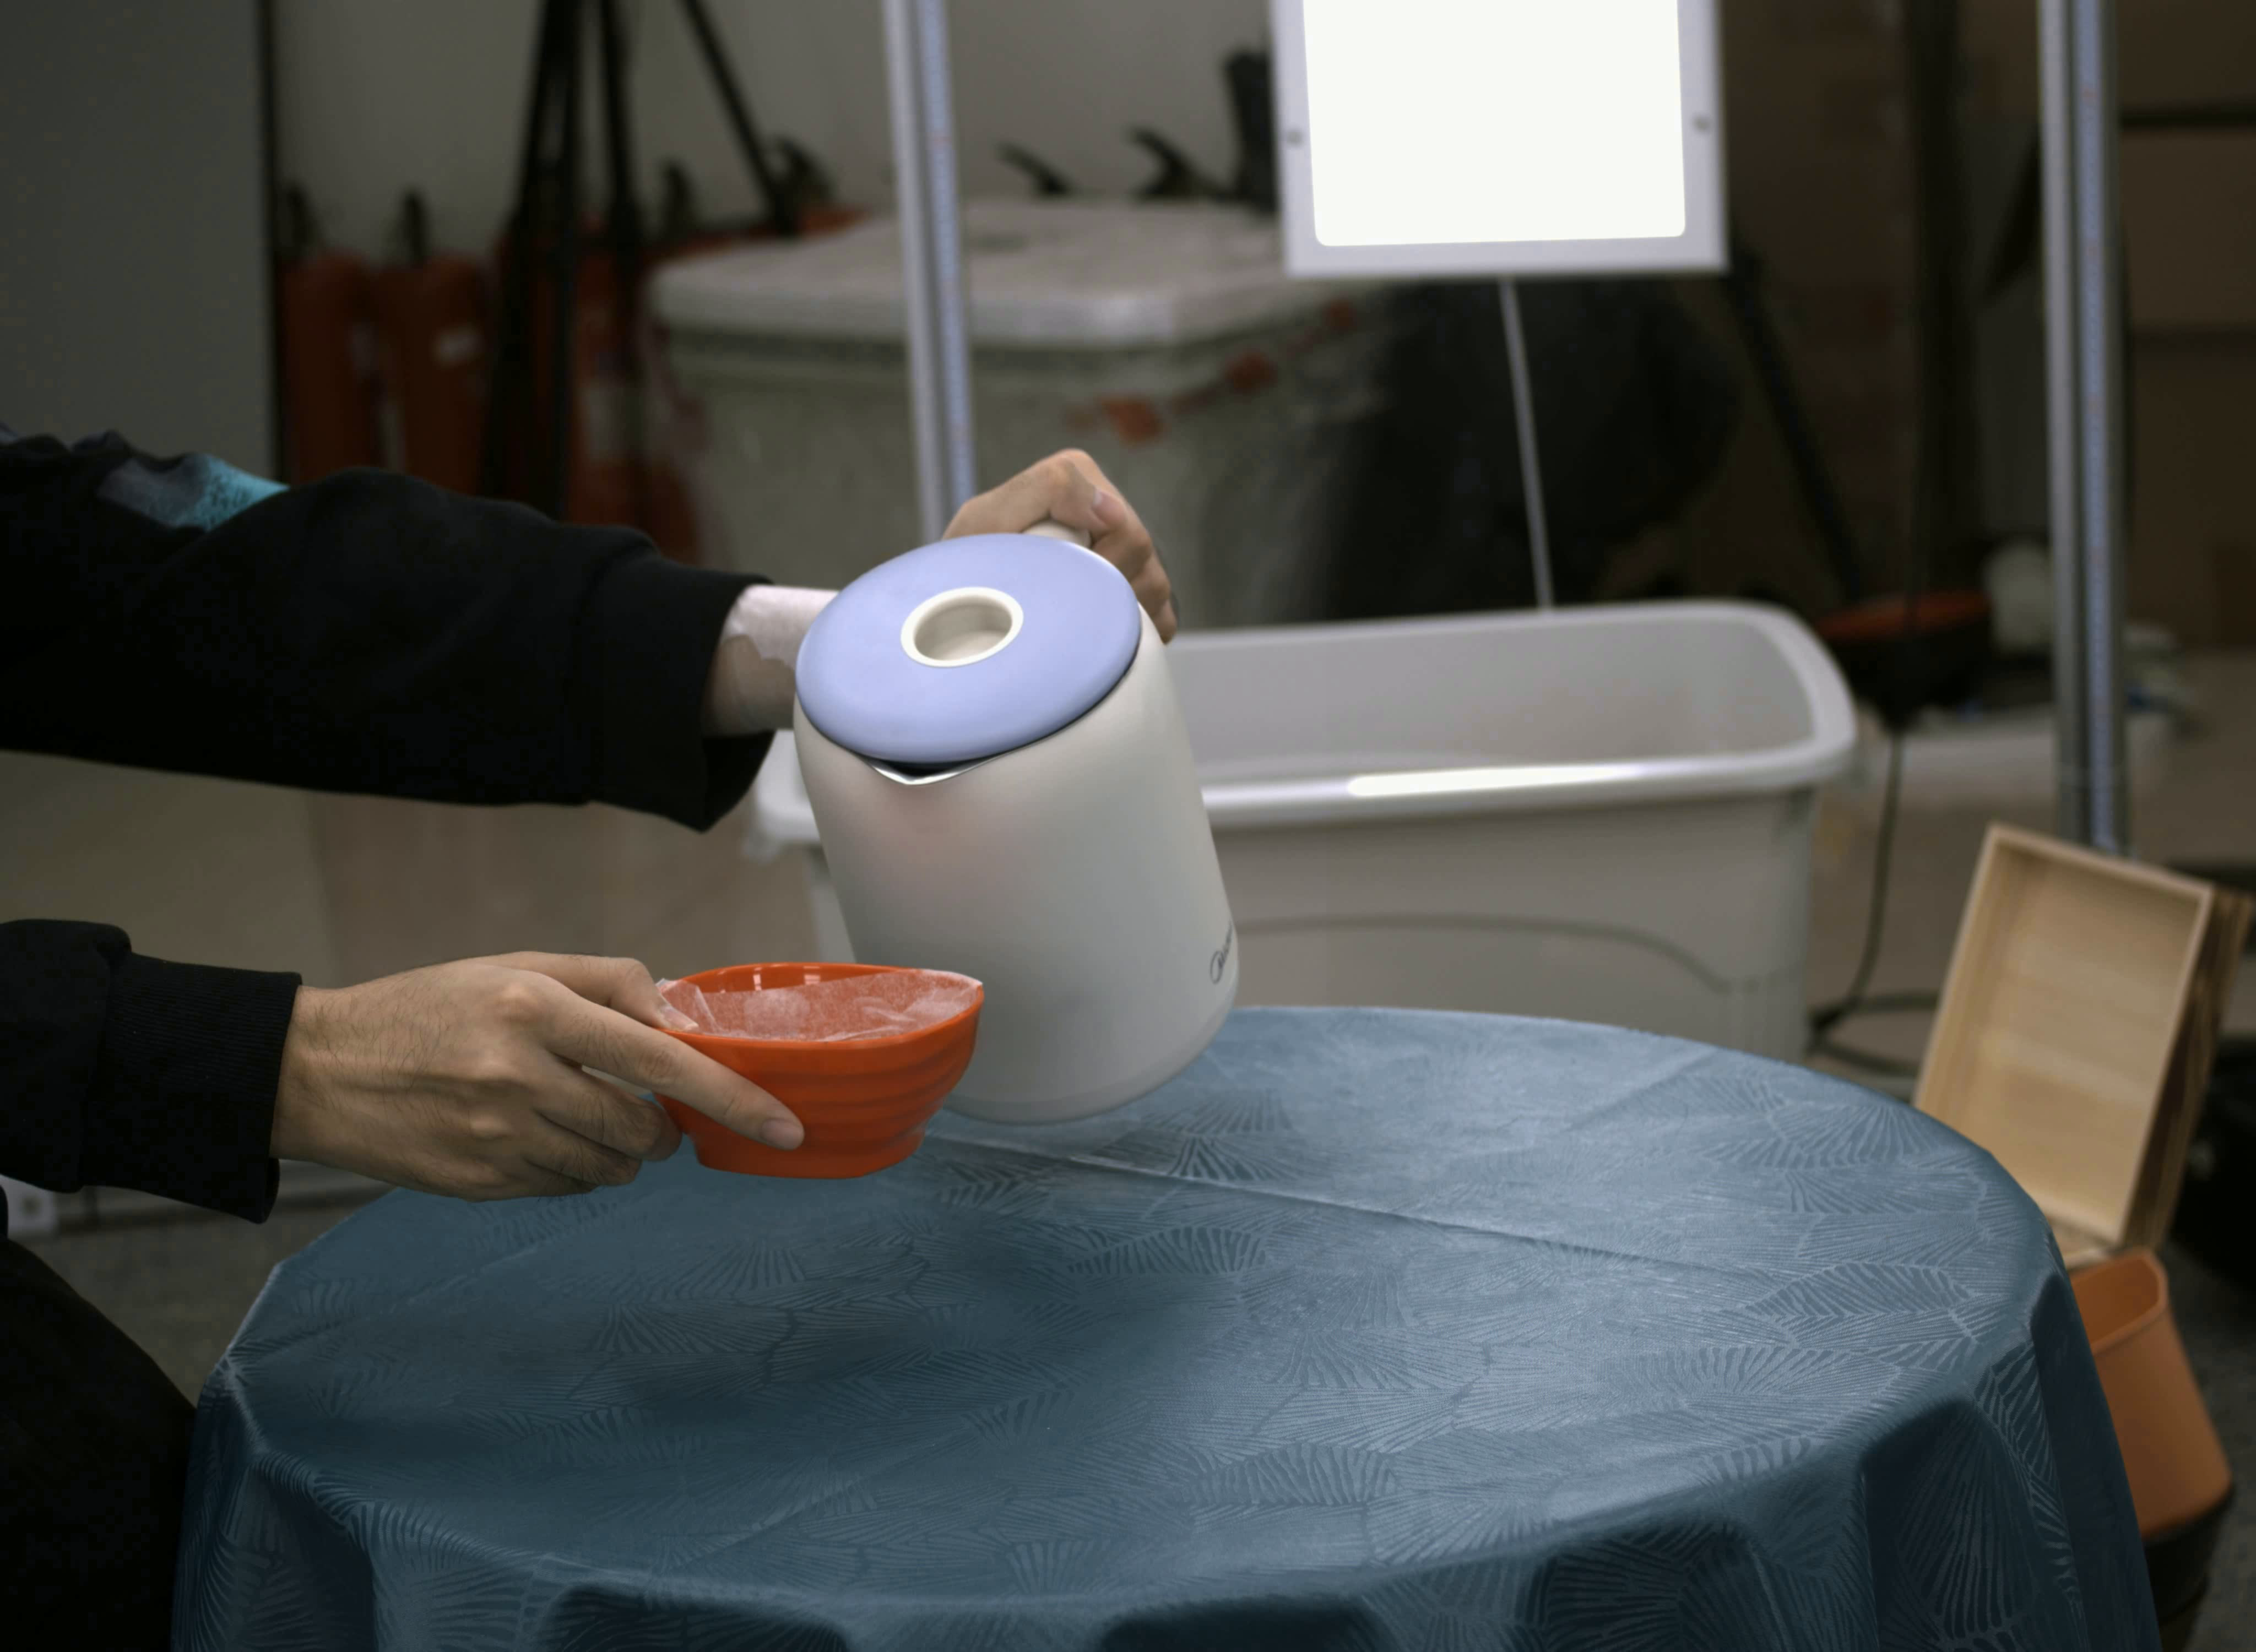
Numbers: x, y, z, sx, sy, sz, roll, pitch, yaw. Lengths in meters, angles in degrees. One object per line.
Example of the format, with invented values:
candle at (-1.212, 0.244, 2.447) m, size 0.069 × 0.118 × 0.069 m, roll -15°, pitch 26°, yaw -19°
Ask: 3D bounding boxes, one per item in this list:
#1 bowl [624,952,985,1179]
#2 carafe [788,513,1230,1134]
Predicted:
bowl at (-0.102, 0.078, 1.760) m, size 0.118 × 0.051 × 0.119 m, roll 0°, pitch 14°, yaw -1°
carafe at (-0.035, -0.013, 1.904) m, size 0.133 × 0.182 × 0.189 m, roll 0°, pitch 38°, yaw 16°
